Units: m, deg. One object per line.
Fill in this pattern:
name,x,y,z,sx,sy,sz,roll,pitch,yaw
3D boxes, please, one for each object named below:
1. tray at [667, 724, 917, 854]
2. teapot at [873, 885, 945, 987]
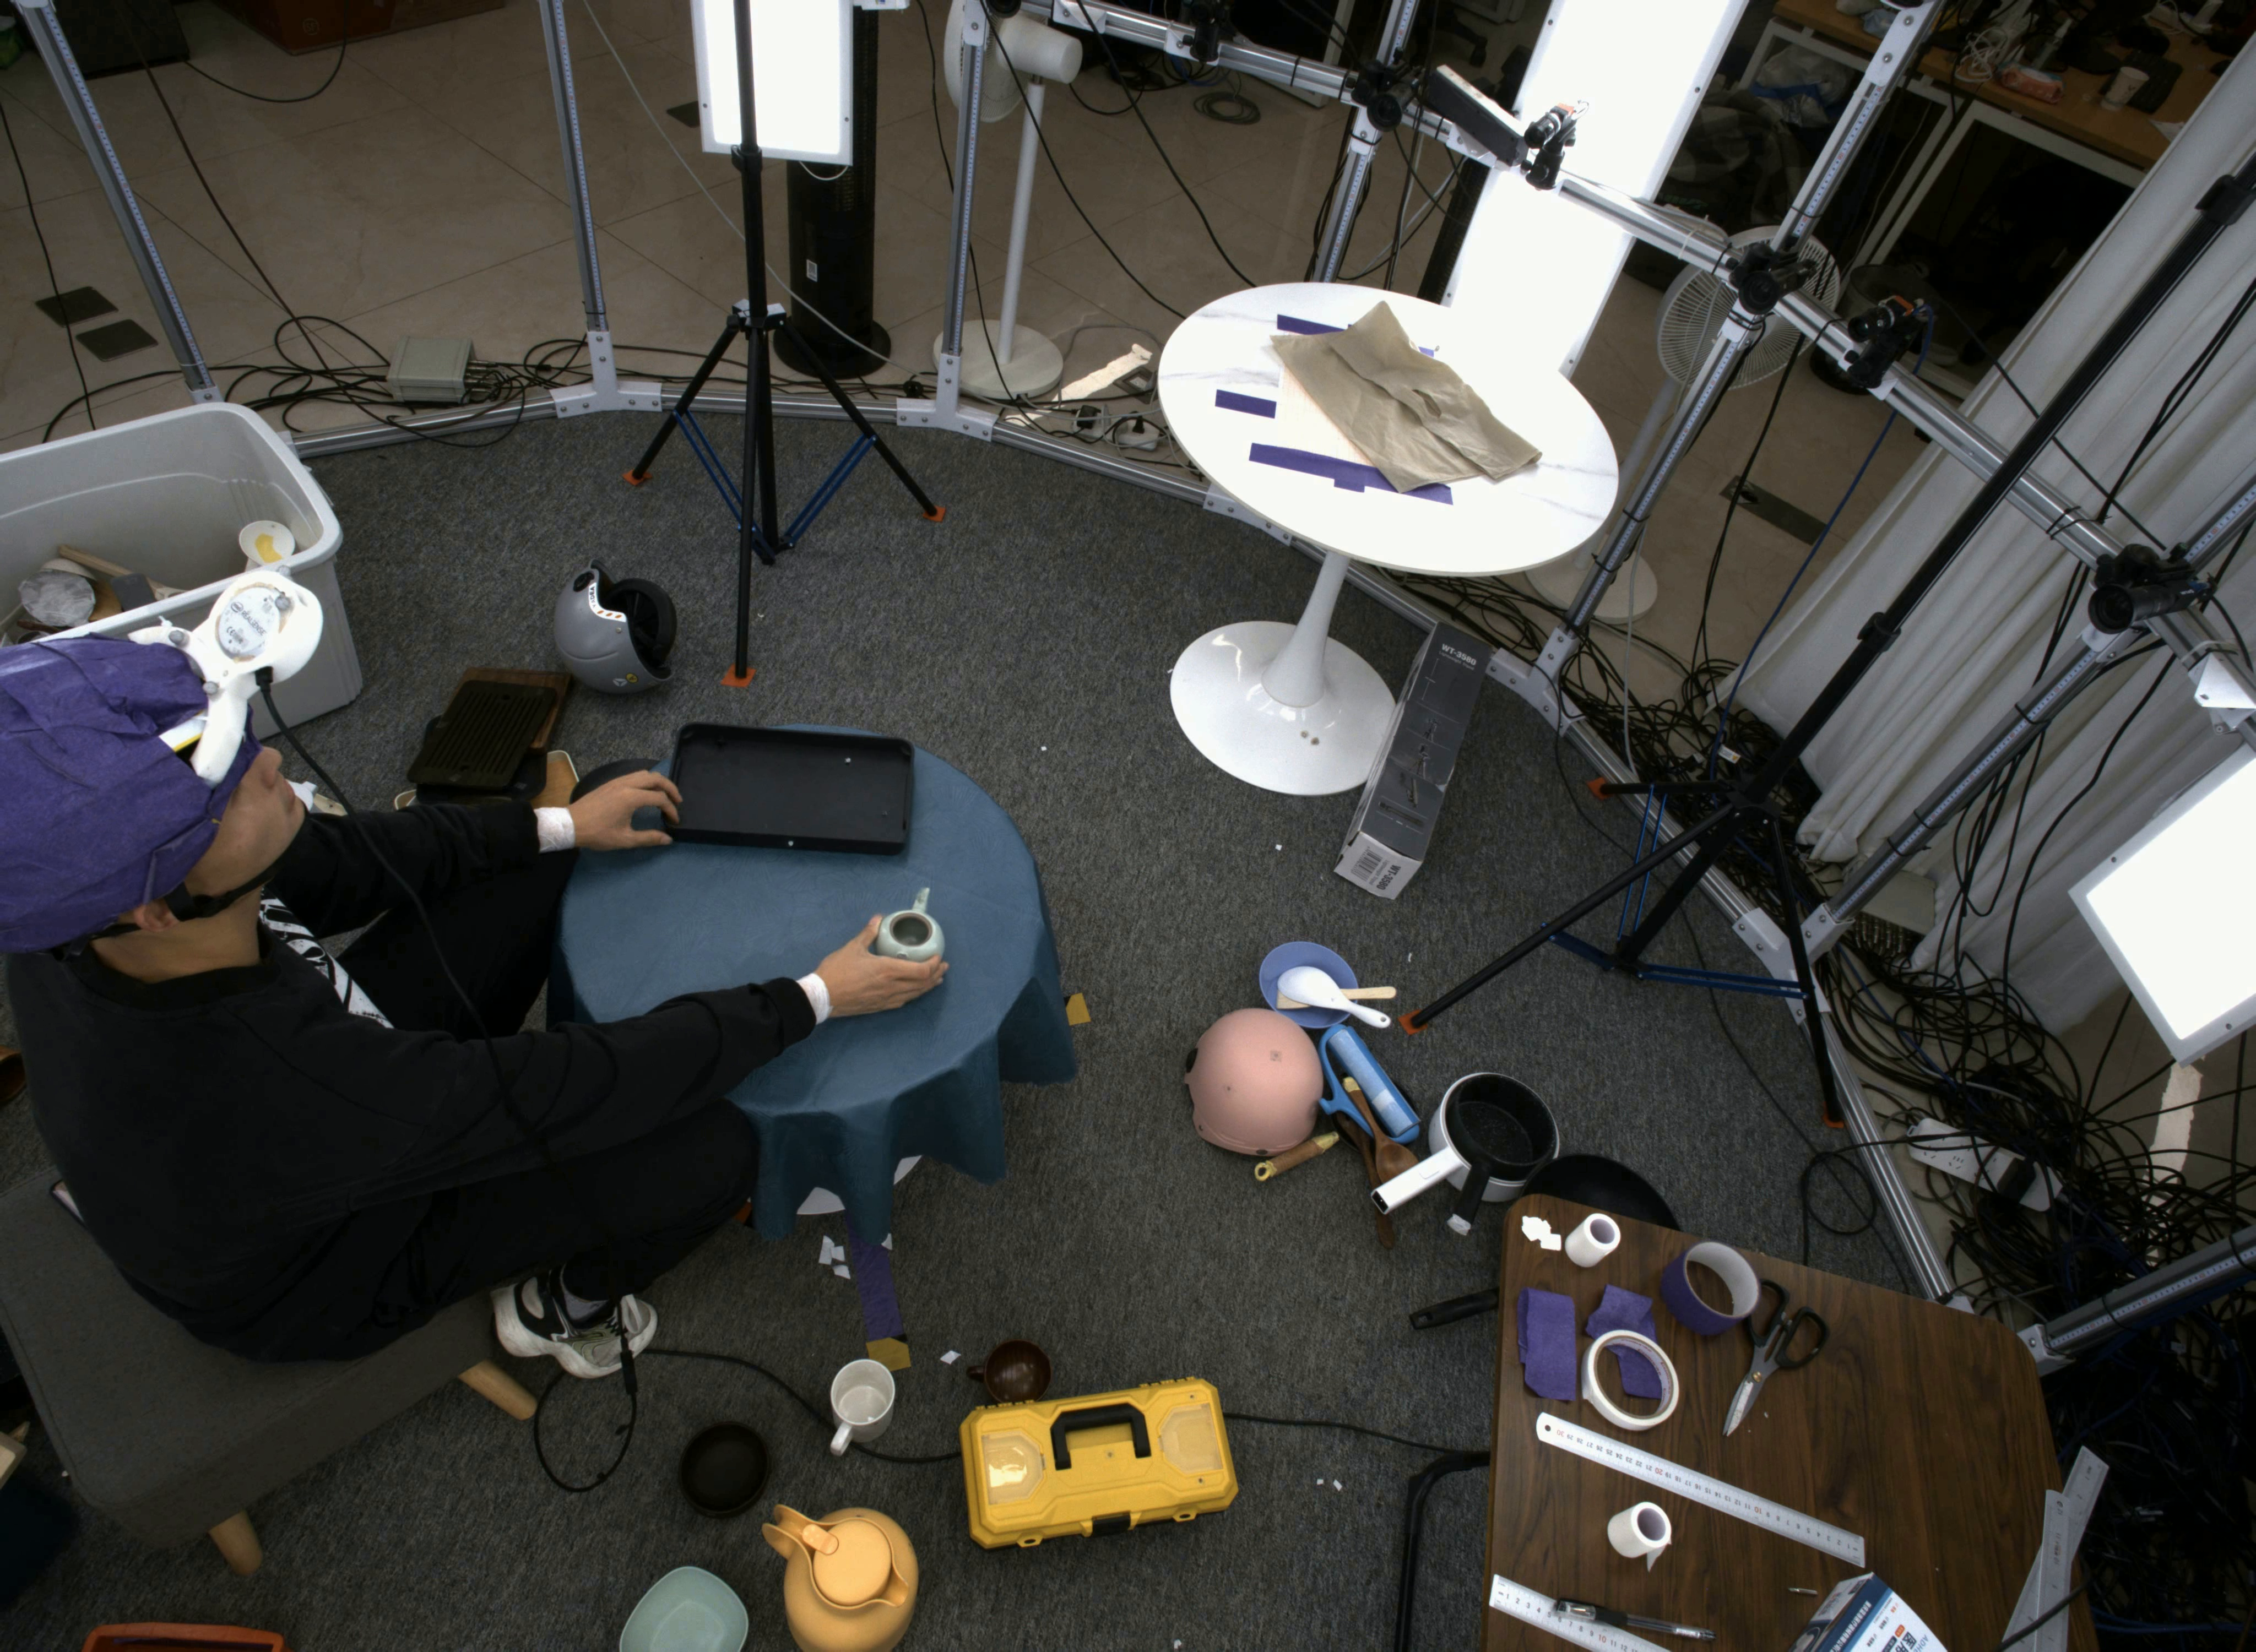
tray,-0.443,-0.050,1.731,0.318,0.038,0.180,3,53,-13
teapot,-0.270,0.143,1.605,0.088,0.076,0.141,16,43,-2
